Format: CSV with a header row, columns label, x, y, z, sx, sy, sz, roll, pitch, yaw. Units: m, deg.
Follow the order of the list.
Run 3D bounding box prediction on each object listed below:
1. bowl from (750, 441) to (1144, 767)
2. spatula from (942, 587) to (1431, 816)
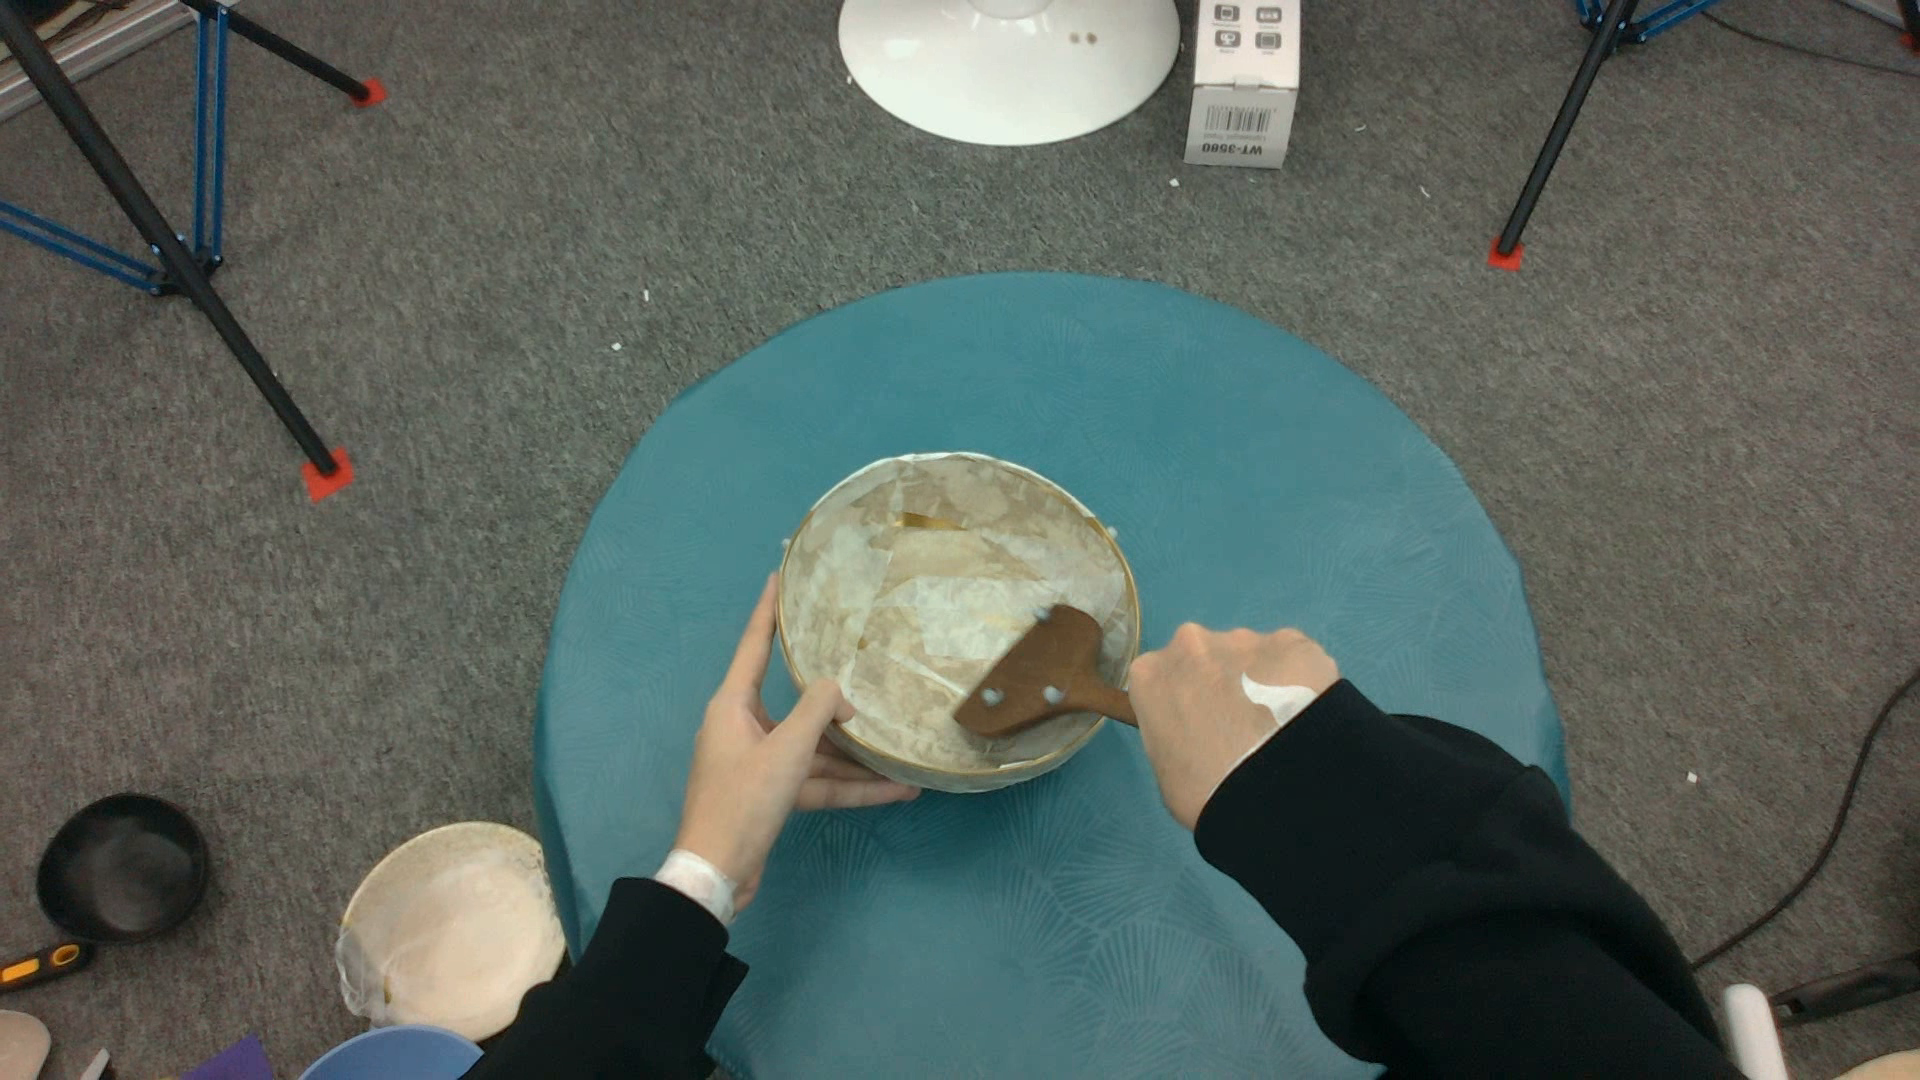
label,x,y,z,sx,sy,sz,roll,pitch,yaw
bowl,-0.011,0.050,0.764,0.215,0.094,0.215,7,48,-8
spatula,0.083,0.071,0.628,0.096,0.385,0.016,-46,106,-12
